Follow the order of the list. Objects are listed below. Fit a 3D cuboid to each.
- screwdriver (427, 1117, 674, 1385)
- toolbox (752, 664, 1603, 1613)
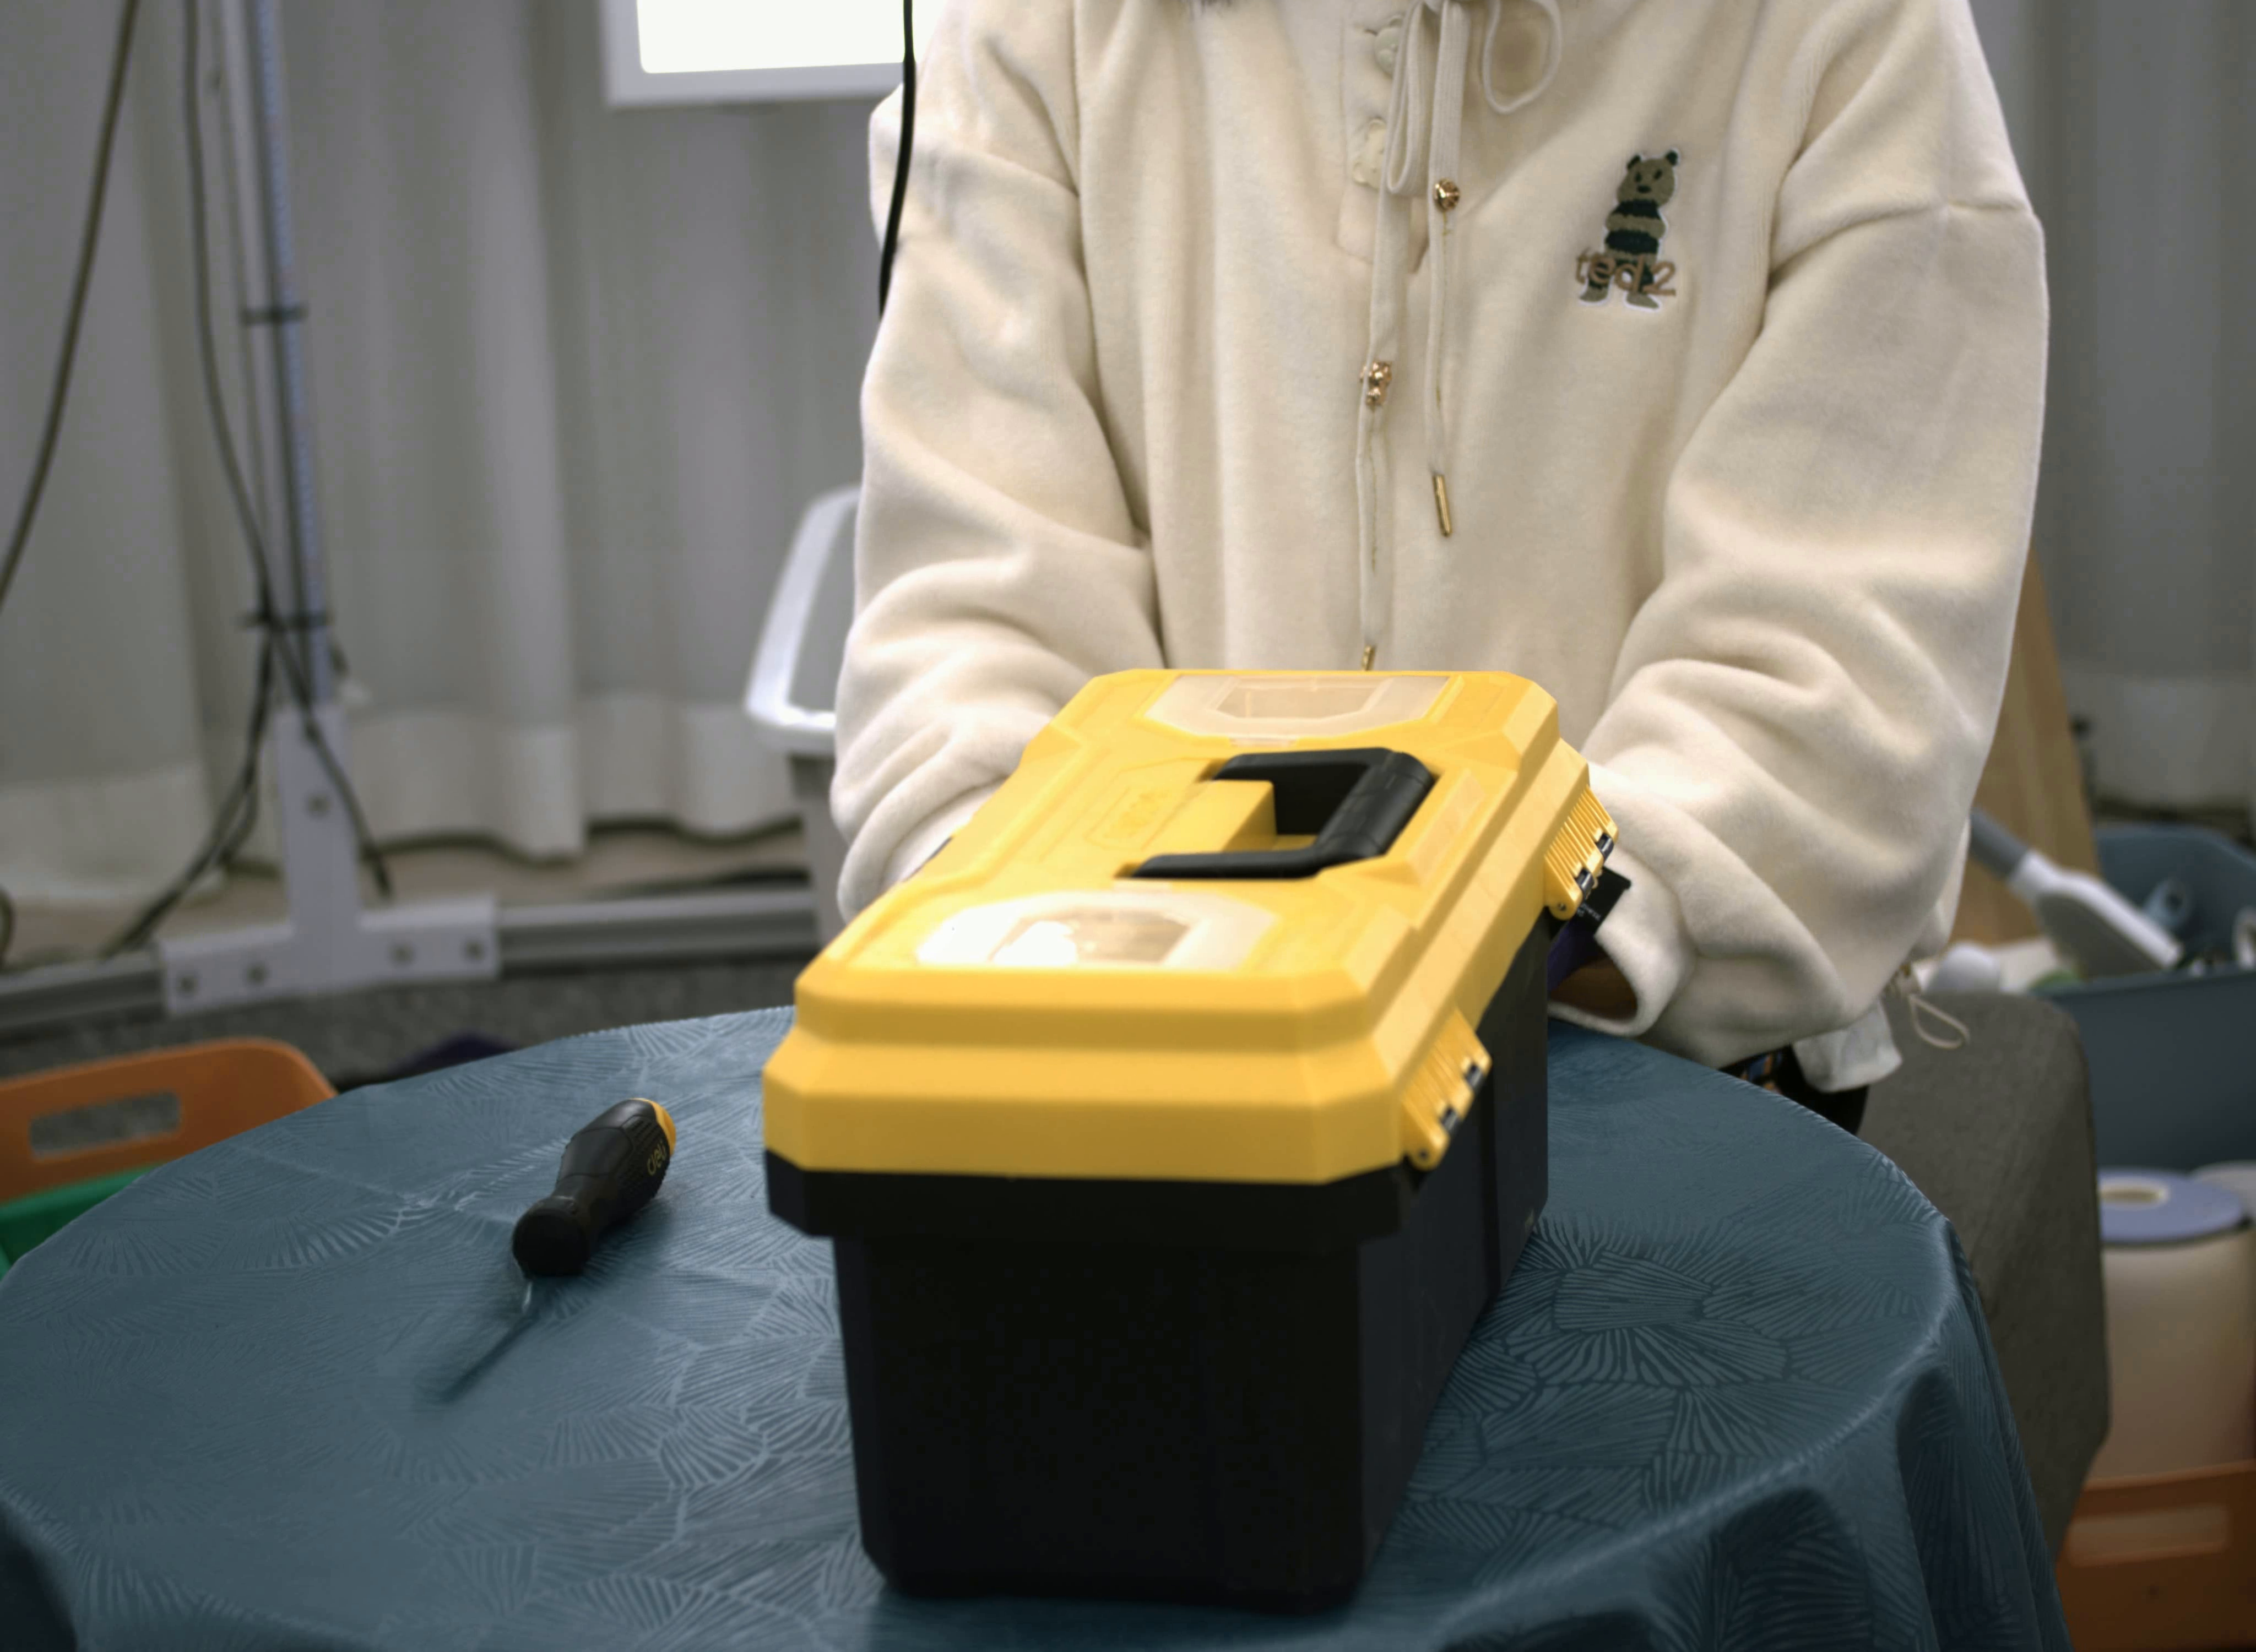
[{"bbox_3d":[-0.176,0.133,1.659,0.031,0.031,0.199,1,20,14],"label":"screwdriver"},{"bbox_3d":[0.026,0.076,1.518,0.181,0.172,0.353,1,15,14],"label":"toolbox"}]
